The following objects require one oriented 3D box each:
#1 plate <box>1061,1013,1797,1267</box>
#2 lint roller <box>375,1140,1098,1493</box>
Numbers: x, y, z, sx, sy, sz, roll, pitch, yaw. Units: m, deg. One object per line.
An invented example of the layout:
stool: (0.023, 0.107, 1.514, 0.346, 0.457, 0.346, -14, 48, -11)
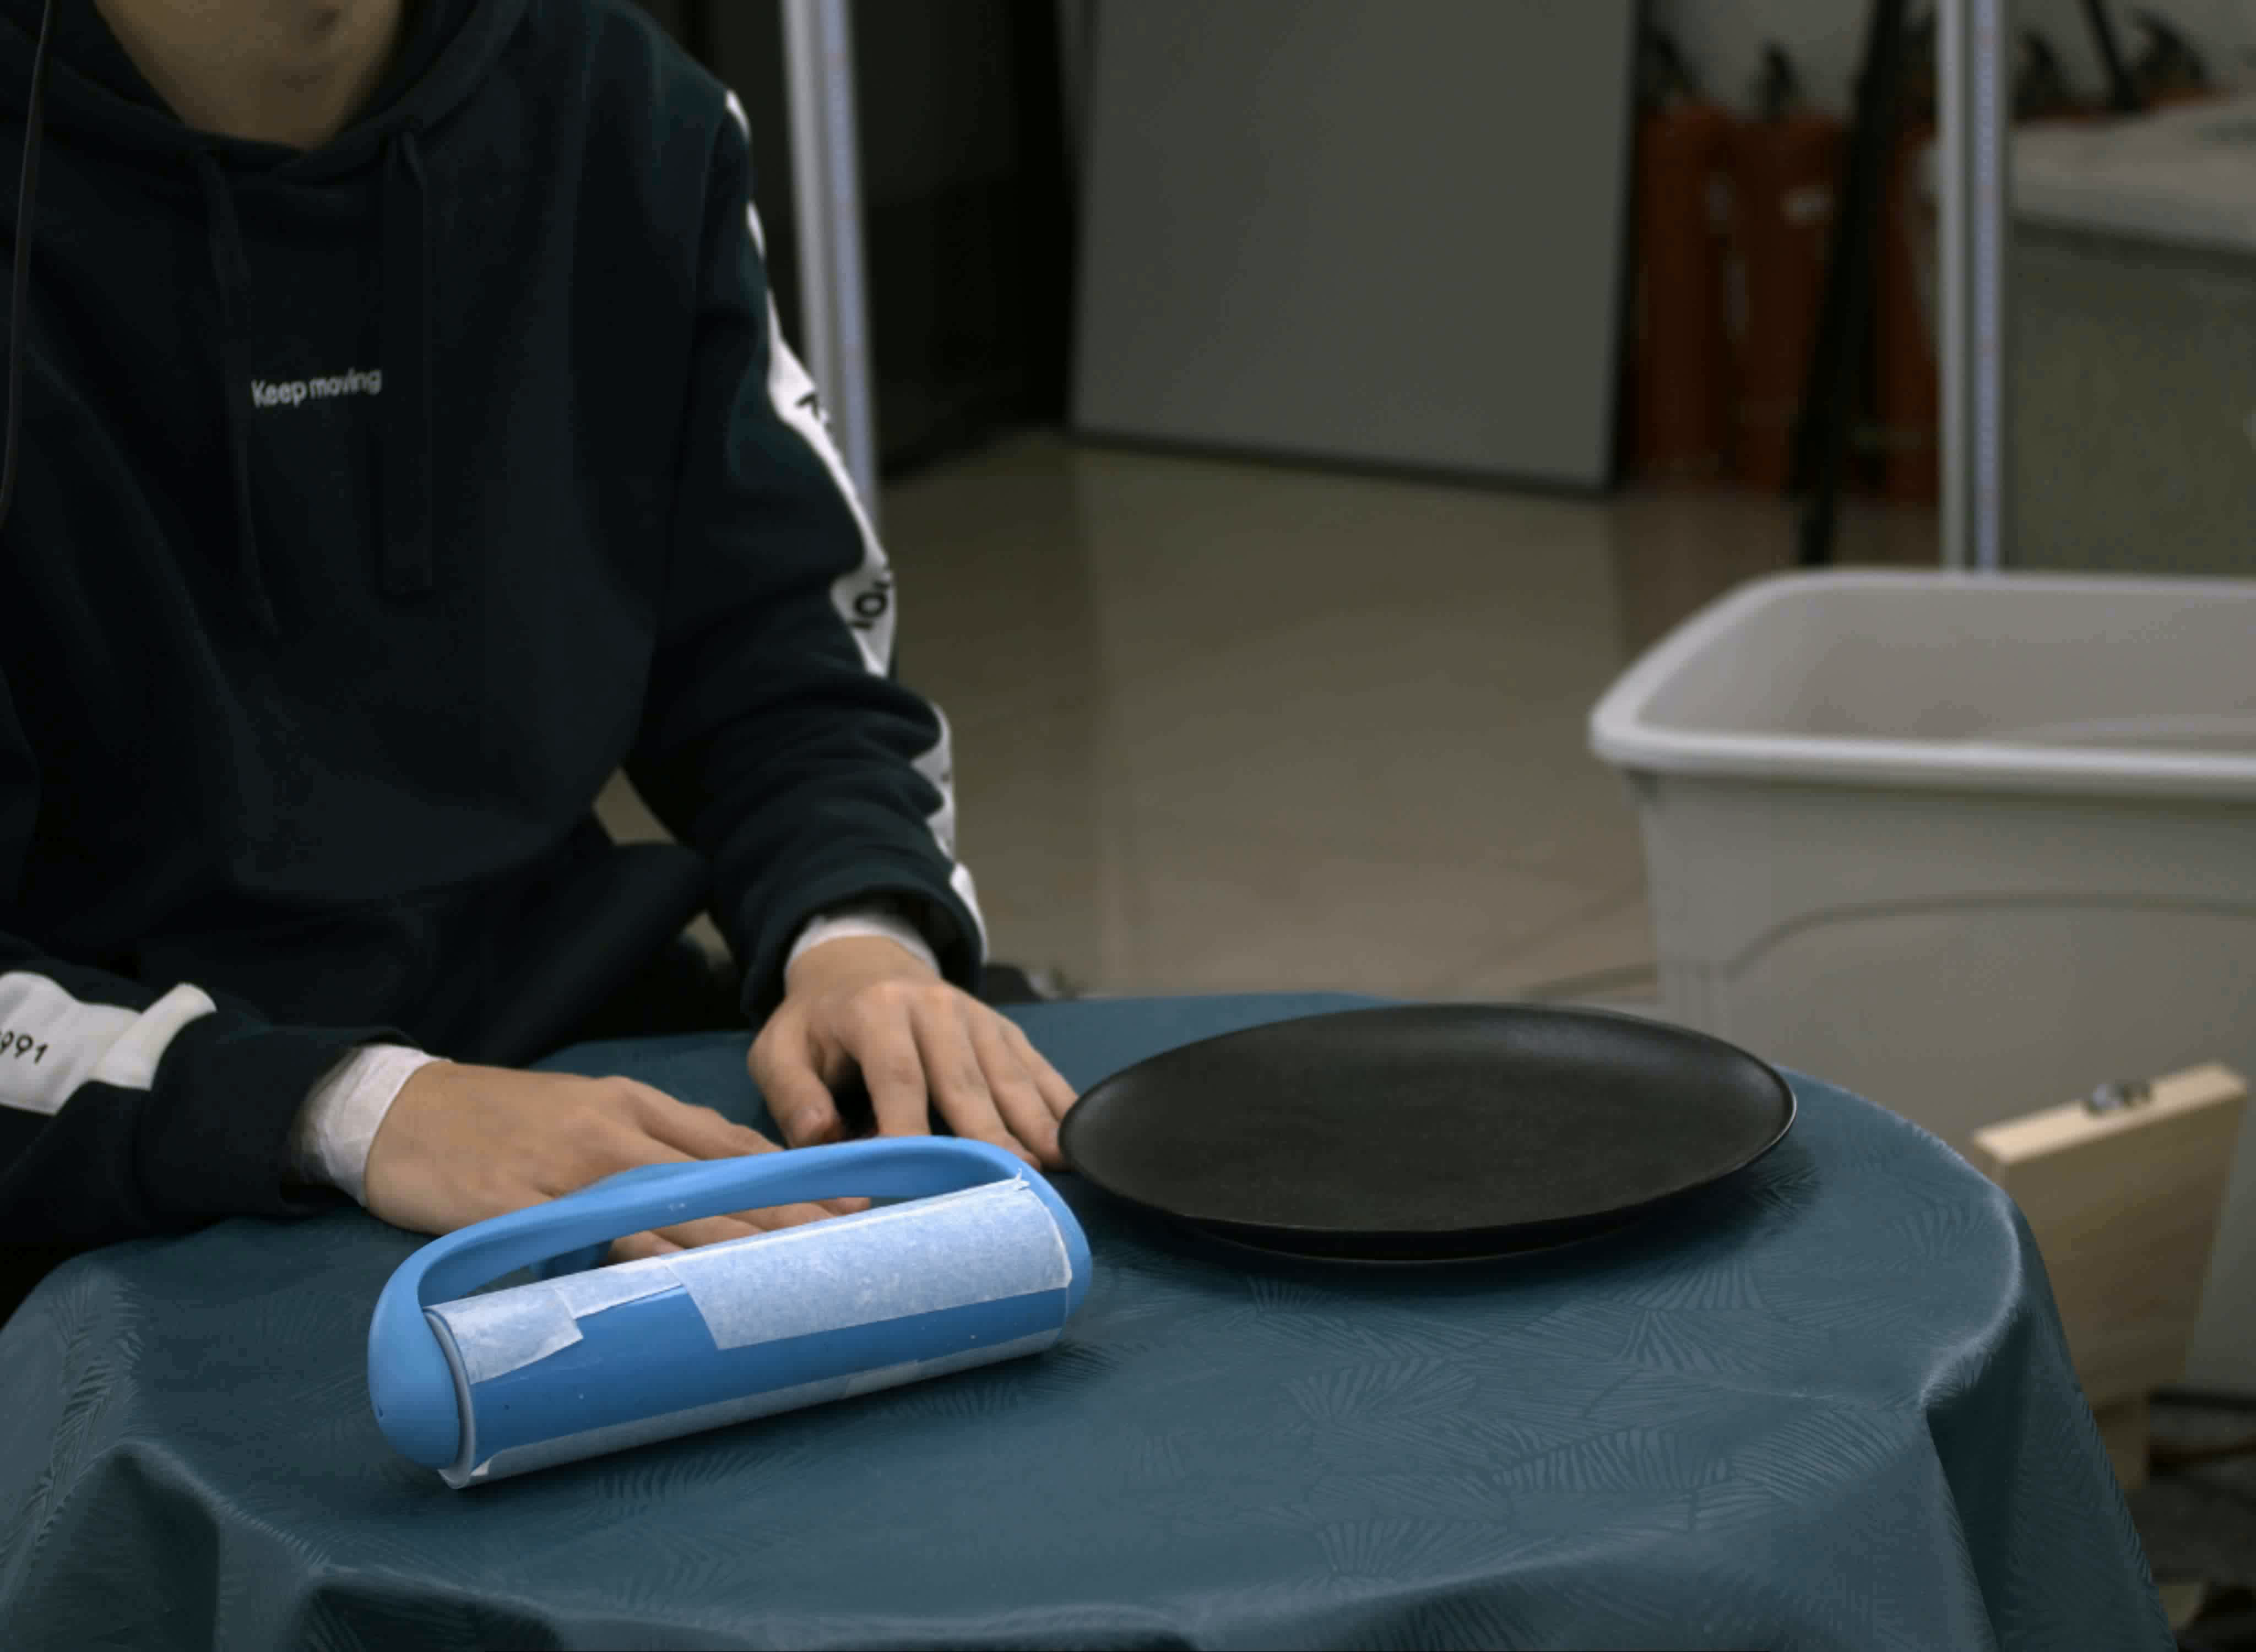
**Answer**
plate: (0.099, 0.104, 1.762, 0.241, 0.024, 0.245, -4, 14, 0)
lint roller: (-0.141, 0.136, 1.632, 0.224, 0.068, 0.182, -13, 16, -28)
